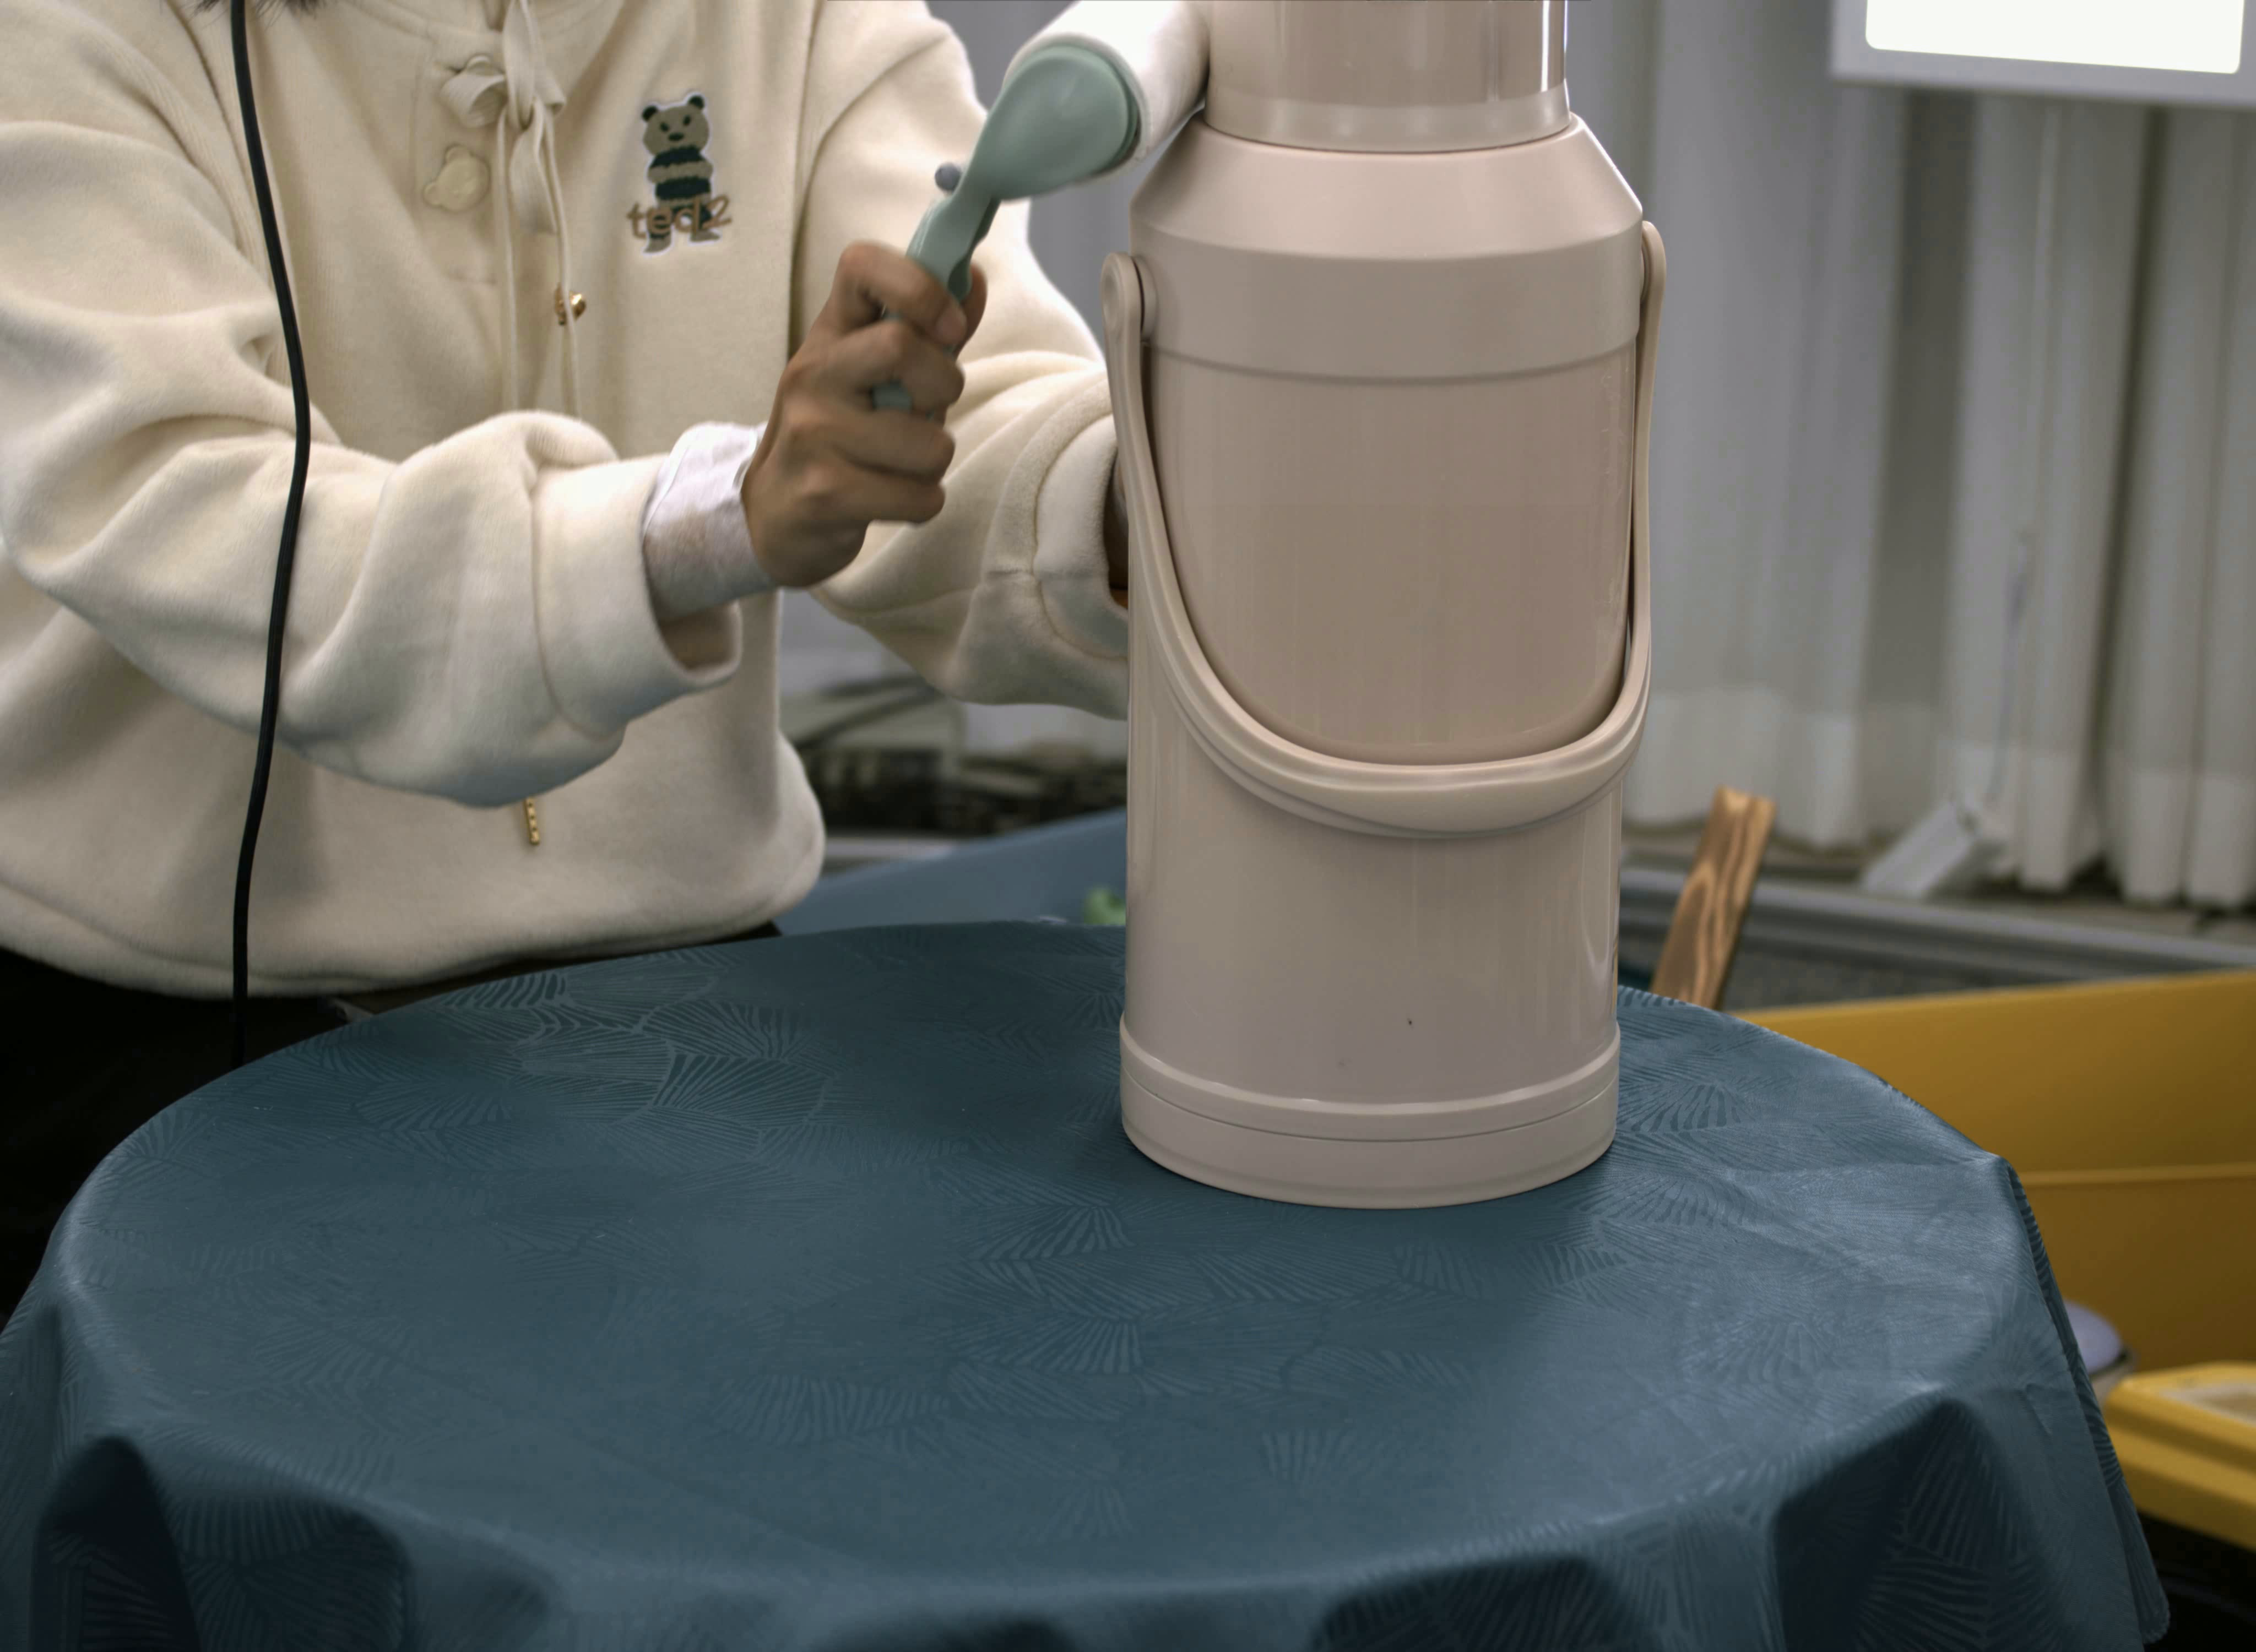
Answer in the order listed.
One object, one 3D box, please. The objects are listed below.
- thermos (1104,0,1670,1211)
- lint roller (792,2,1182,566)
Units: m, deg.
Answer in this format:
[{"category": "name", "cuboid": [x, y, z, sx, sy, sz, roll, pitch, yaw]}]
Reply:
[{"category": "thermos", "cuboid": [0.075, -0.099, 1.632, 0.175, 0.410, 0.205, -6, 19, -17]}, {"category": "lint roller", "cuboid": [-0.053, -0.168, 1.617, 0.048, 0.198, 0.116, 37, 12, -6]}]
